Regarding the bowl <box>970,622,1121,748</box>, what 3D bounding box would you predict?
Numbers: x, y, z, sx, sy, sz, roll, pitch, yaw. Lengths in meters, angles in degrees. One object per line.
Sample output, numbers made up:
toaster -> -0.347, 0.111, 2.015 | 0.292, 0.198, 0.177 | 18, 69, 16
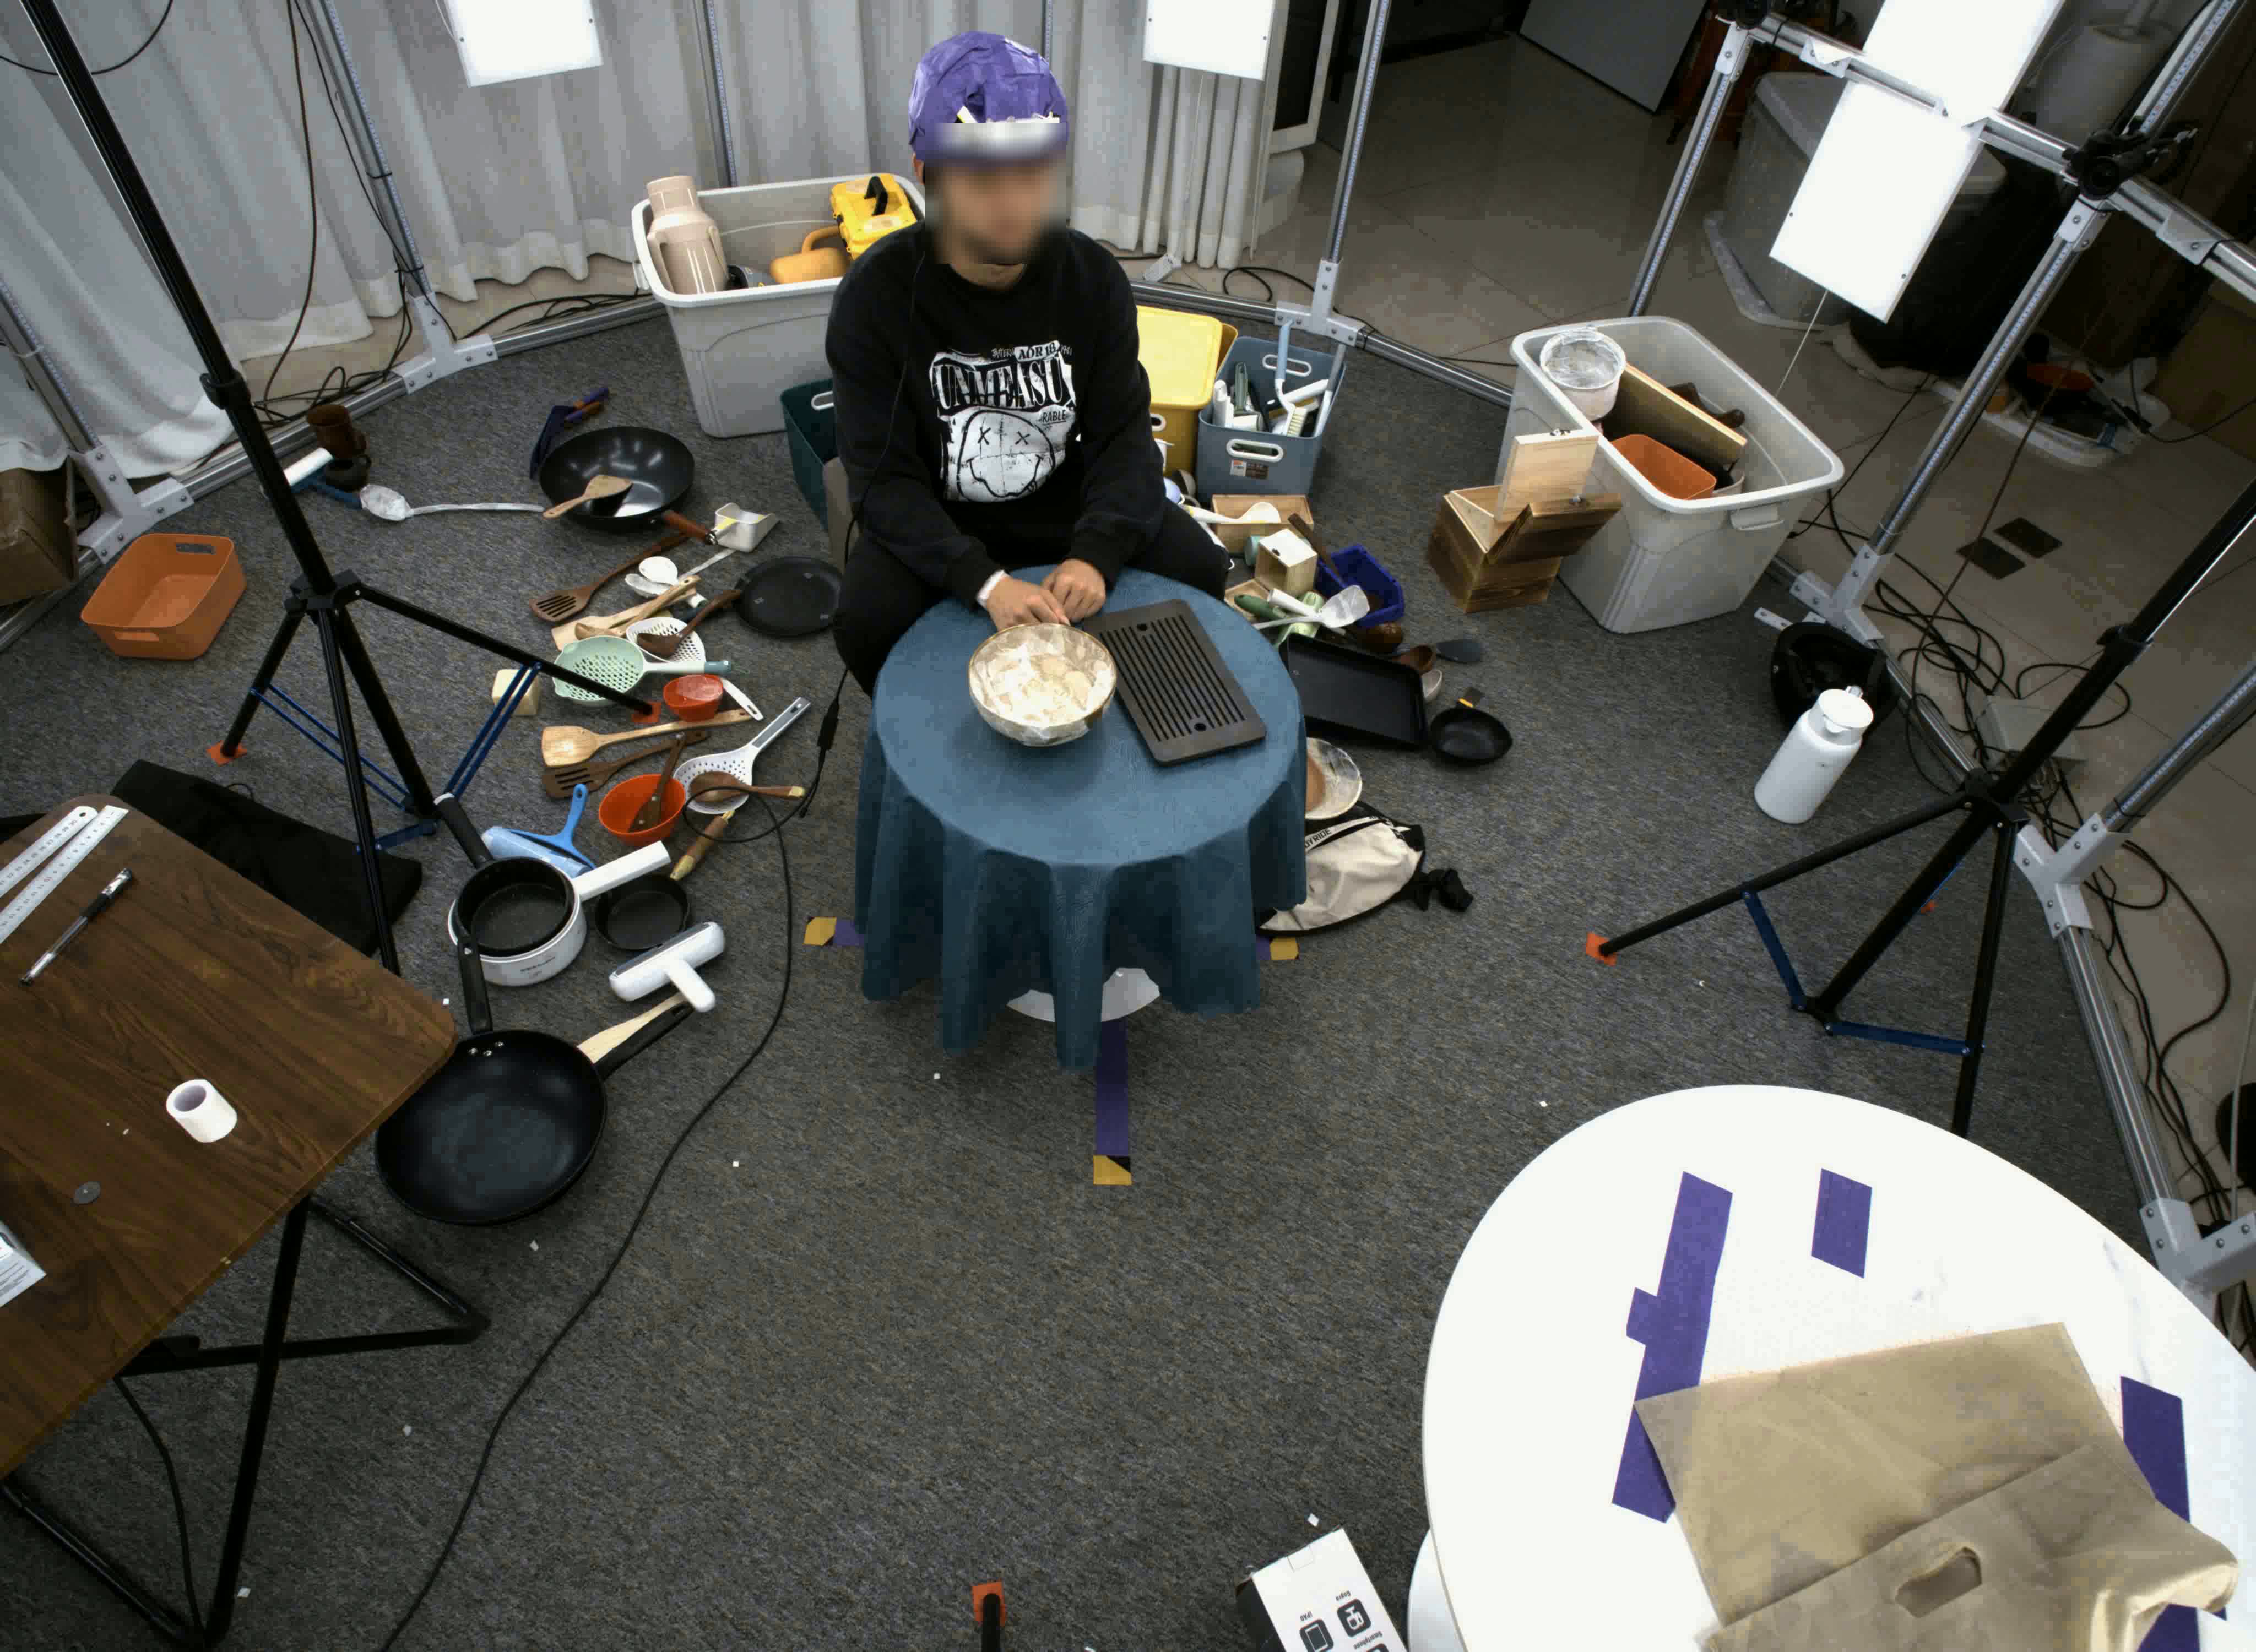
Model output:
bowl -> -0.113, -0.181, 1.773 | 0.214, 0.092, 0.220 | 1, 49, -1

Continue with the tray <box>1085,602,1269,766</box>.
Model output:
tray -> 0.066, -0.211, 1.861 | 0.170, 0.018, 0.313 | -14, 51, -16
